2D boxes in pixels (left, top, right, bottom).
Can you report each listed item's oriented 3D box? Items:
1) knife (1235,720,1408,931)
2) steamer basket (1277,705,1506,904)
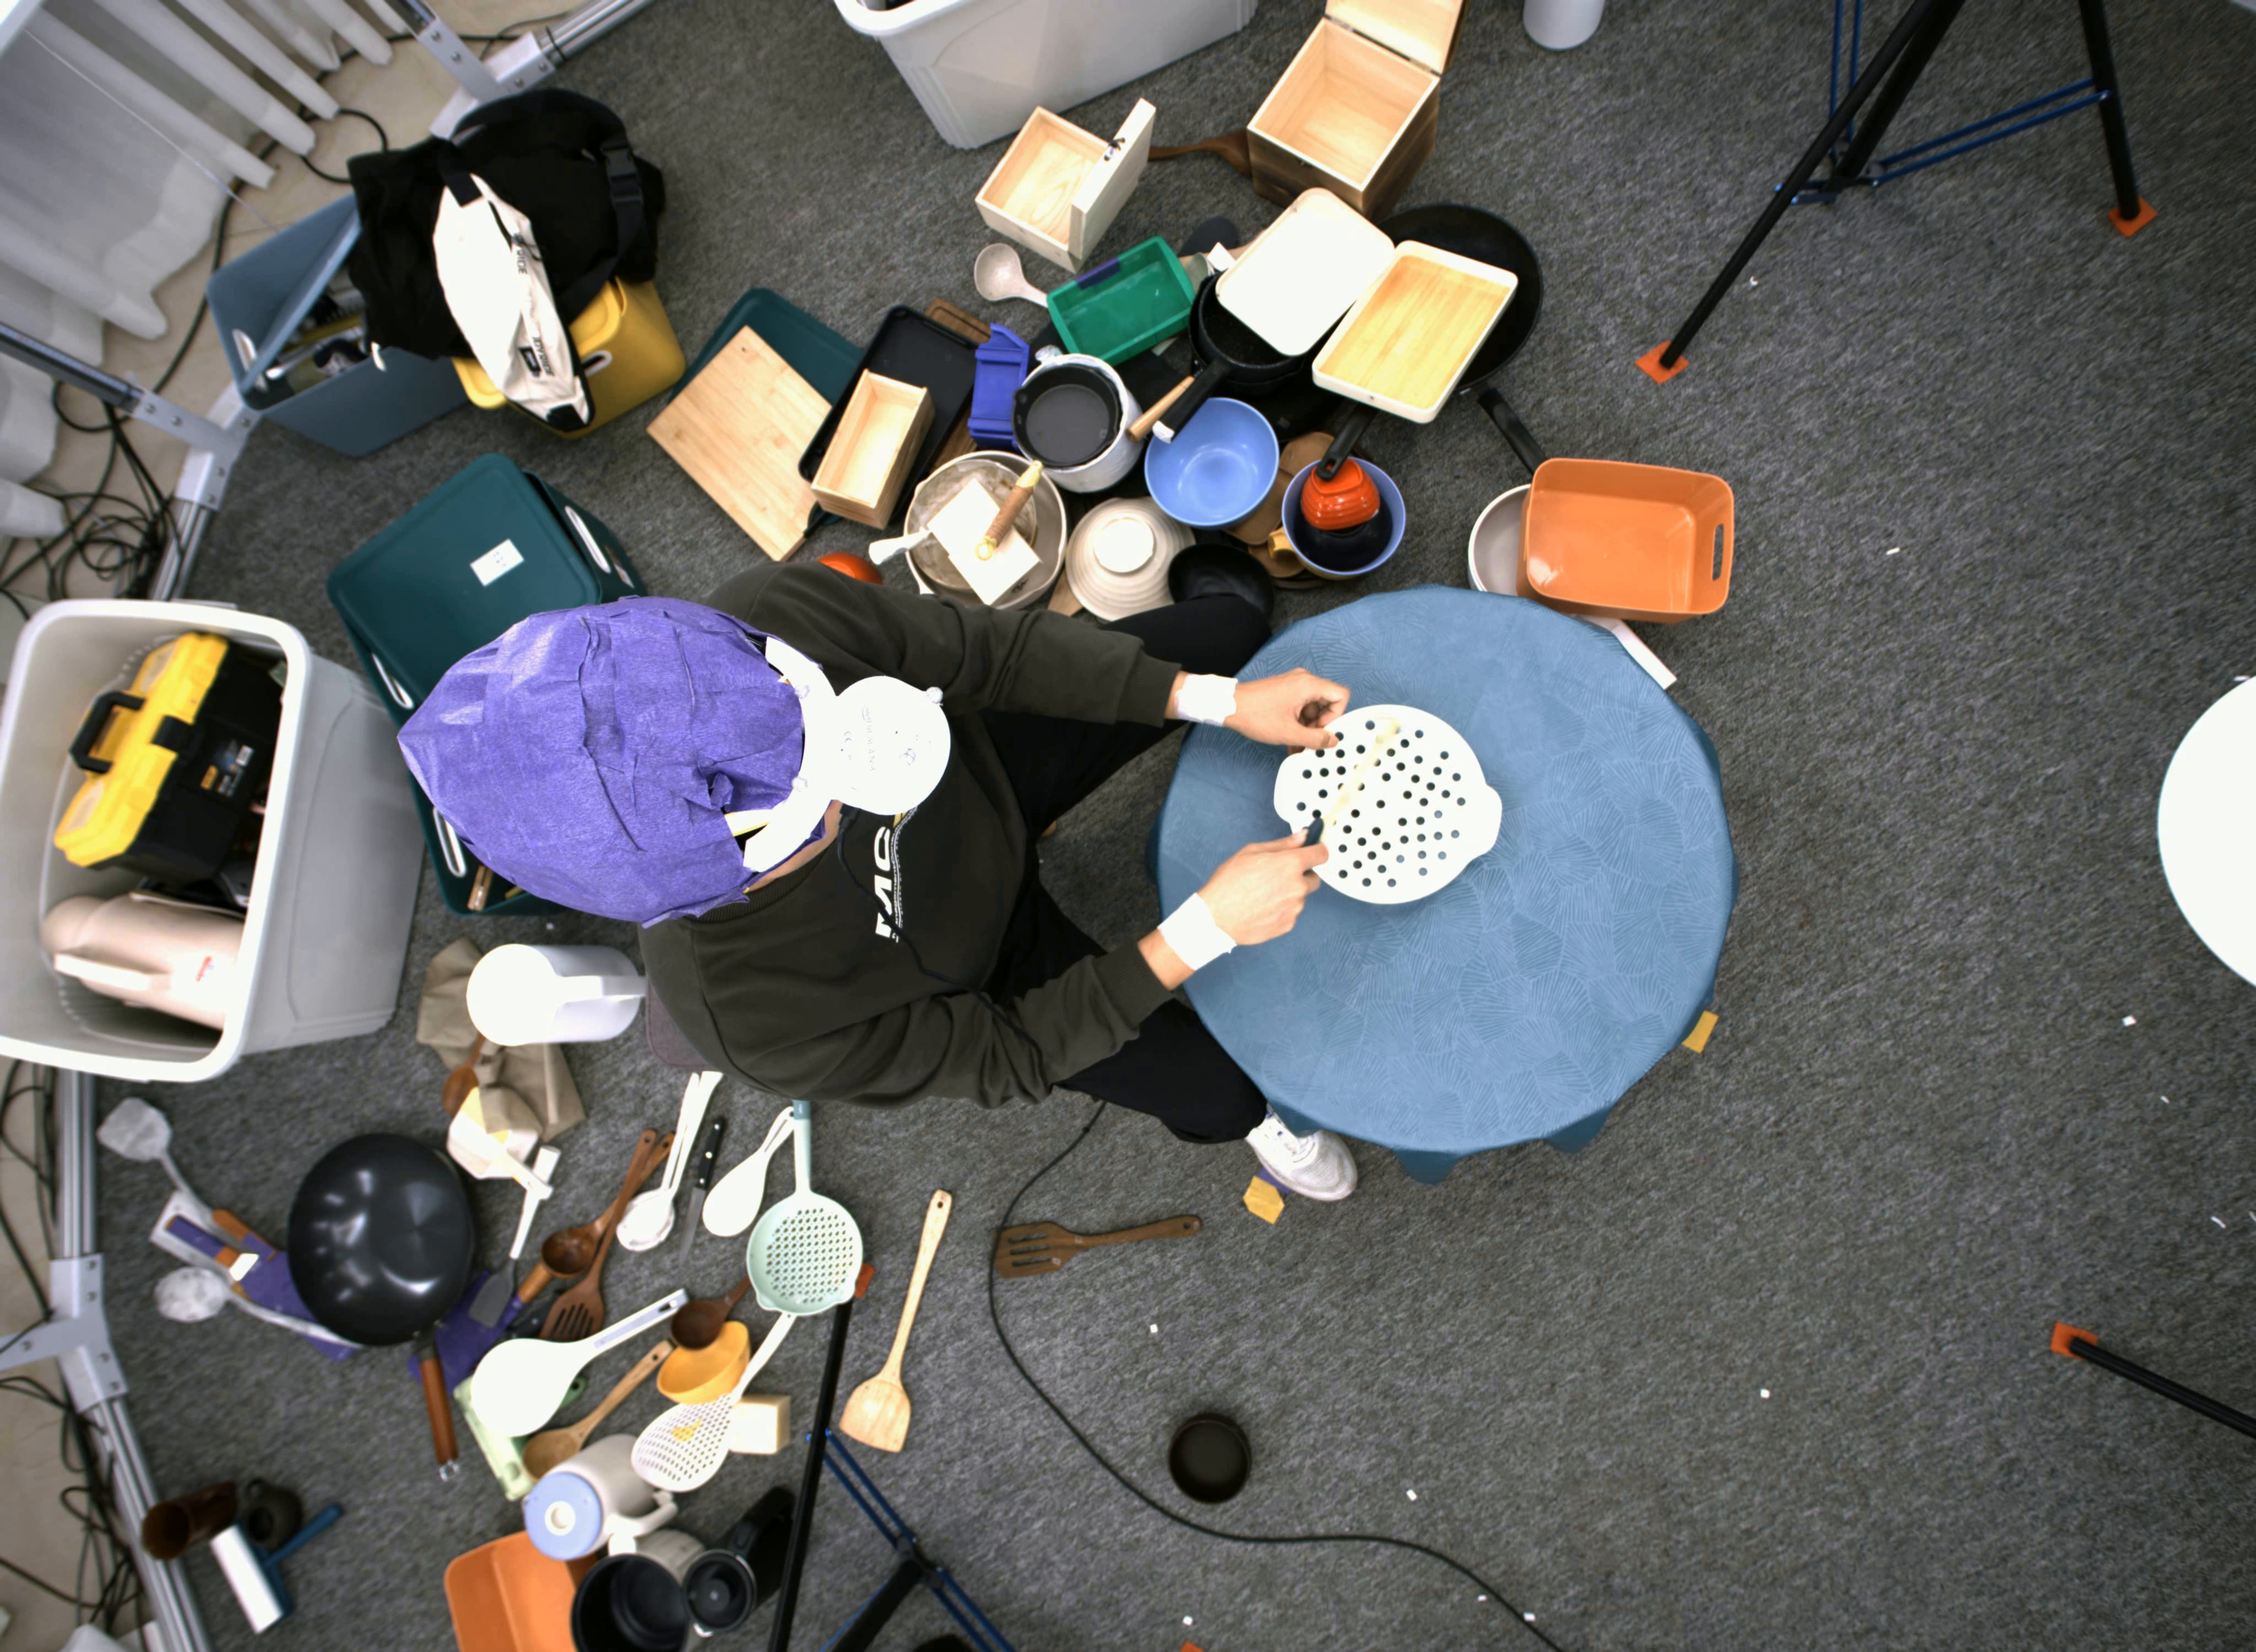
[{"bbox_3d":[0.199,-0.004,1.386,0.027,0.082,0.286,35,75,21],"label":"knife"},{"bbox_3d":[0.269,-0.023,1.422,0.231,0.069,0.202,11,94,5],"label":"steamer basket"}]
